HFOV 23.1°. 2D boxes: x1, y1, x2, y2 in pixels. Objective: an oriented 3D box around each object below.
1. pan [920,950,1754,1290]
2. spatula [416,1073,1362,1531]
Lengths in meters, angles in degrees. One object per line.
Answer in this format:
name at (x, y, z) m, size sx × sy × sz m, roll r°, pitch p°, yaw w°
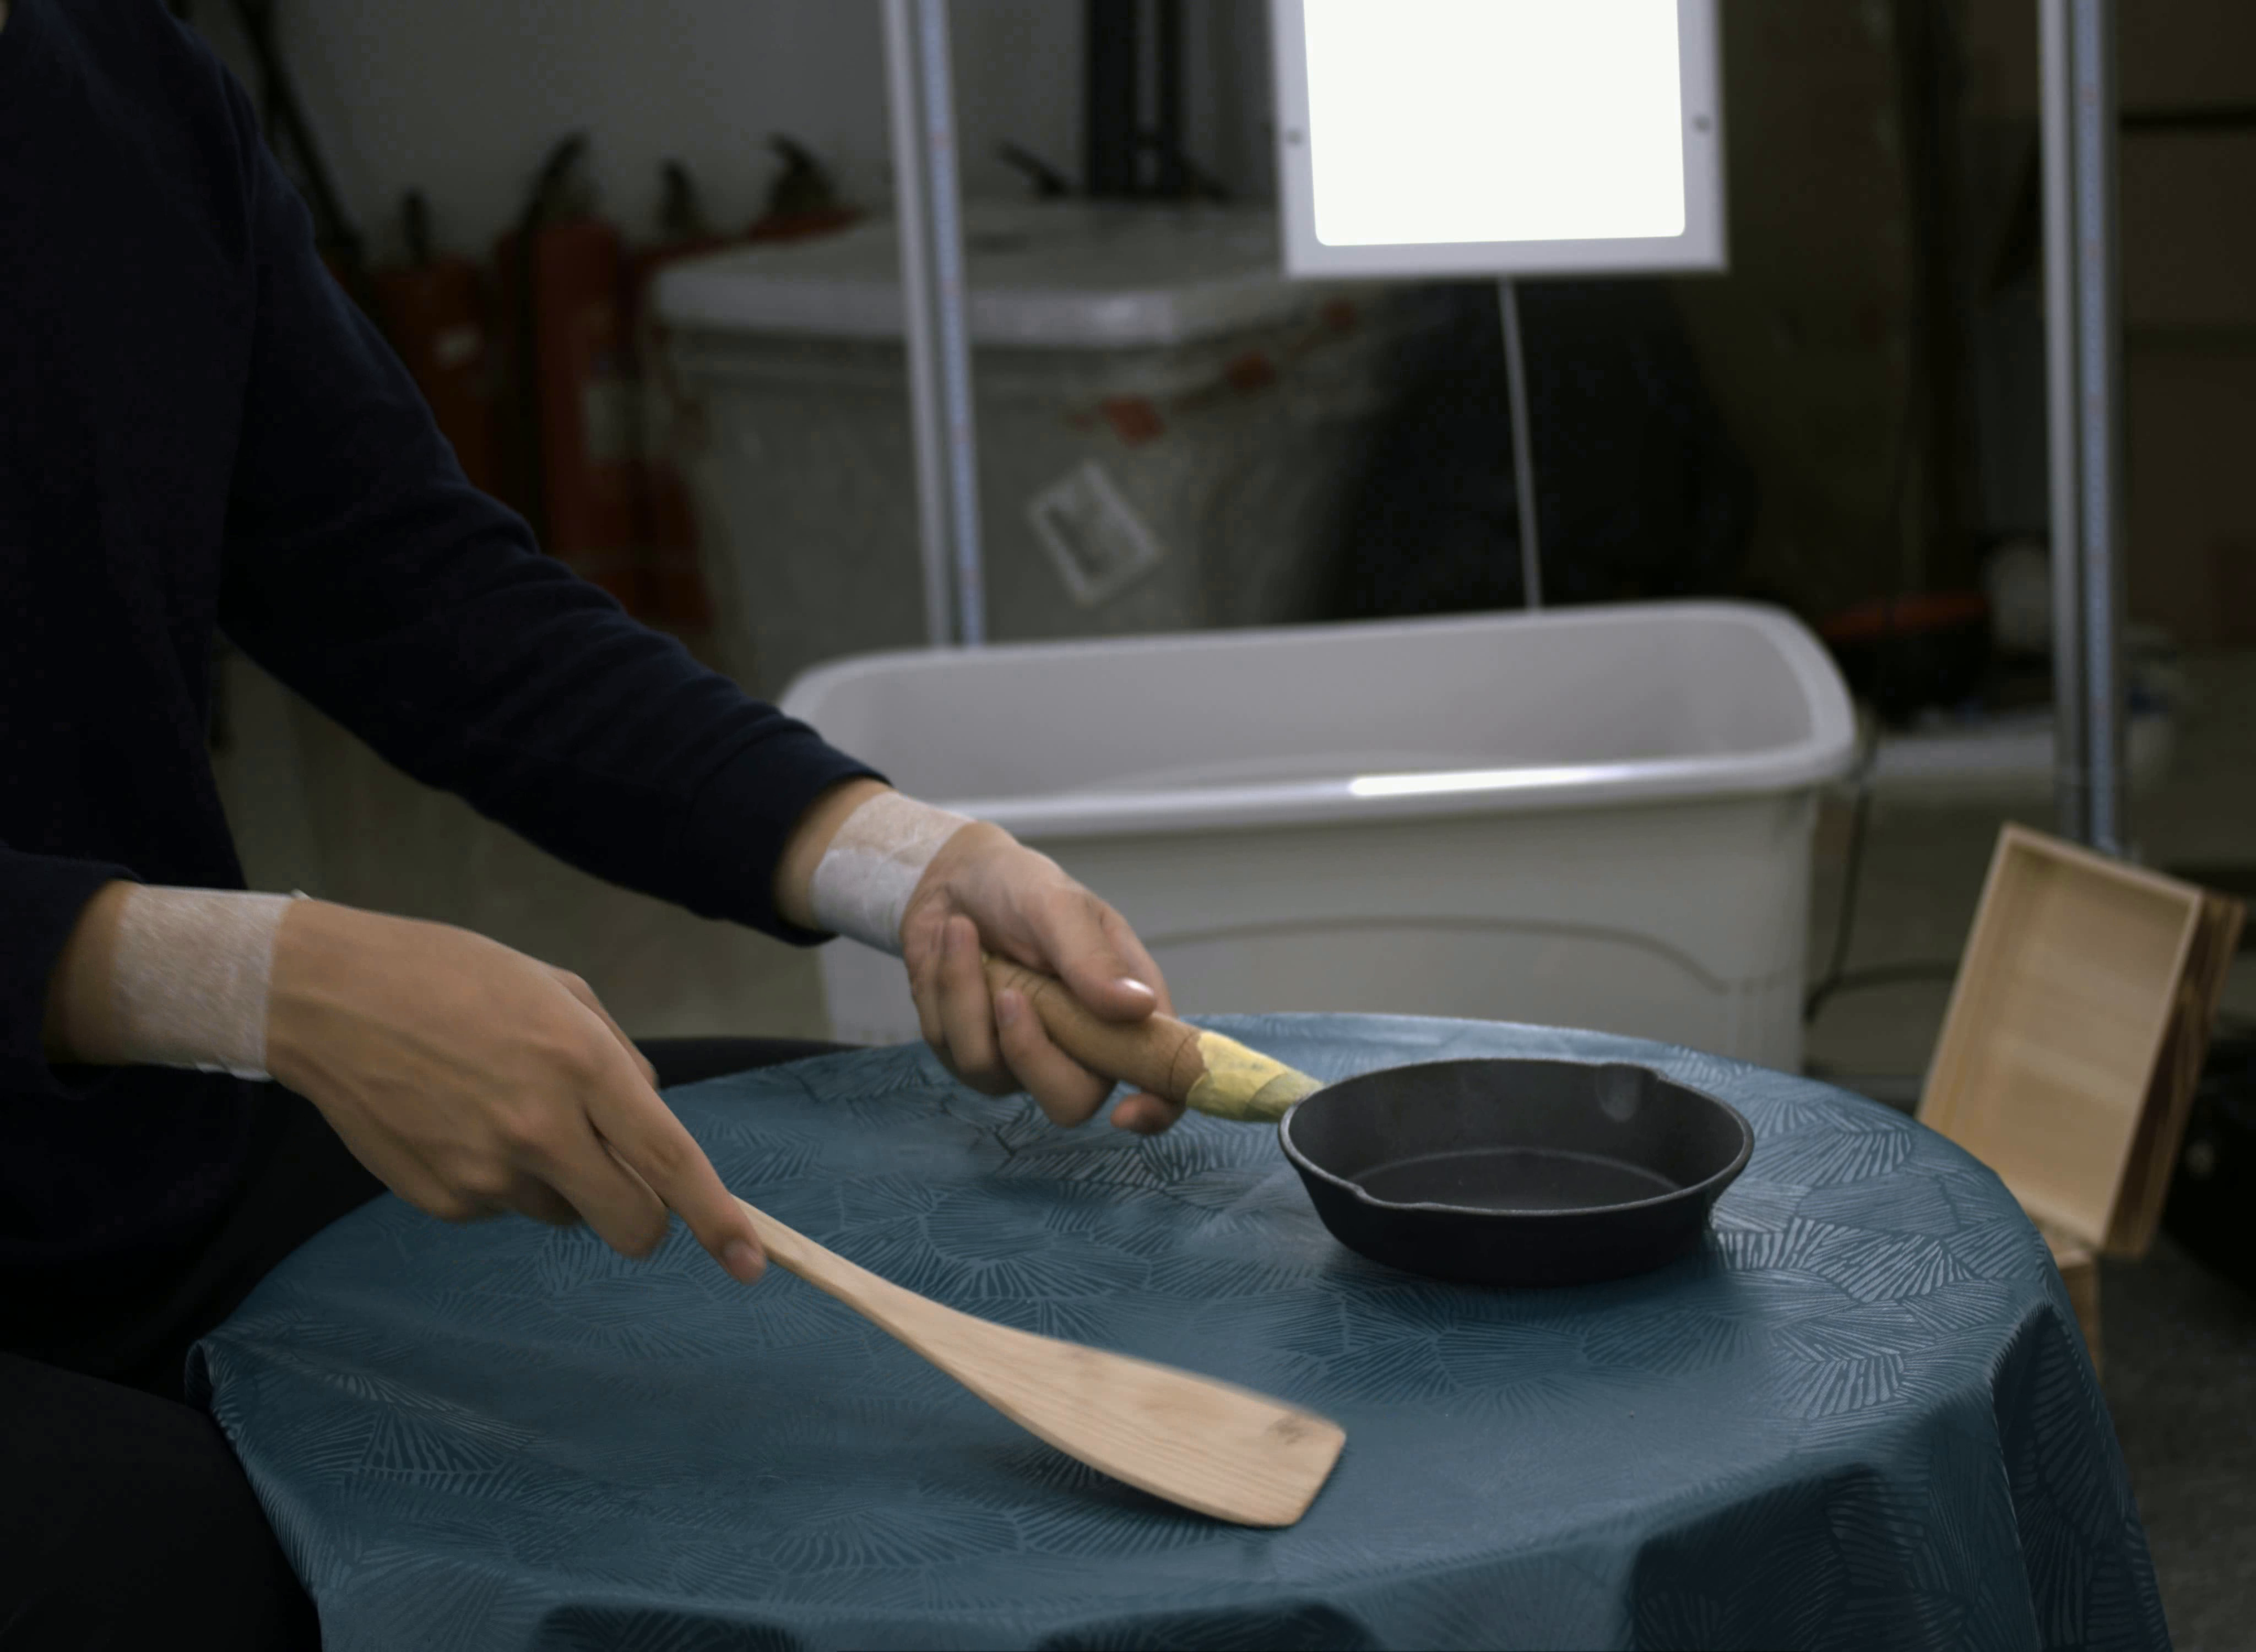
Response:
pan at (0.061, 0.094, 1.861) m, size 0.330 × 0.050 × 0.164 m, roll 12°, pitch 21°, yaw 37°
spatula at (-0.077, 0.137, 1.665) m, size 0.331 × 0.017 × 0.078 m, roll 23°, pitch 27°, yaw 21°
